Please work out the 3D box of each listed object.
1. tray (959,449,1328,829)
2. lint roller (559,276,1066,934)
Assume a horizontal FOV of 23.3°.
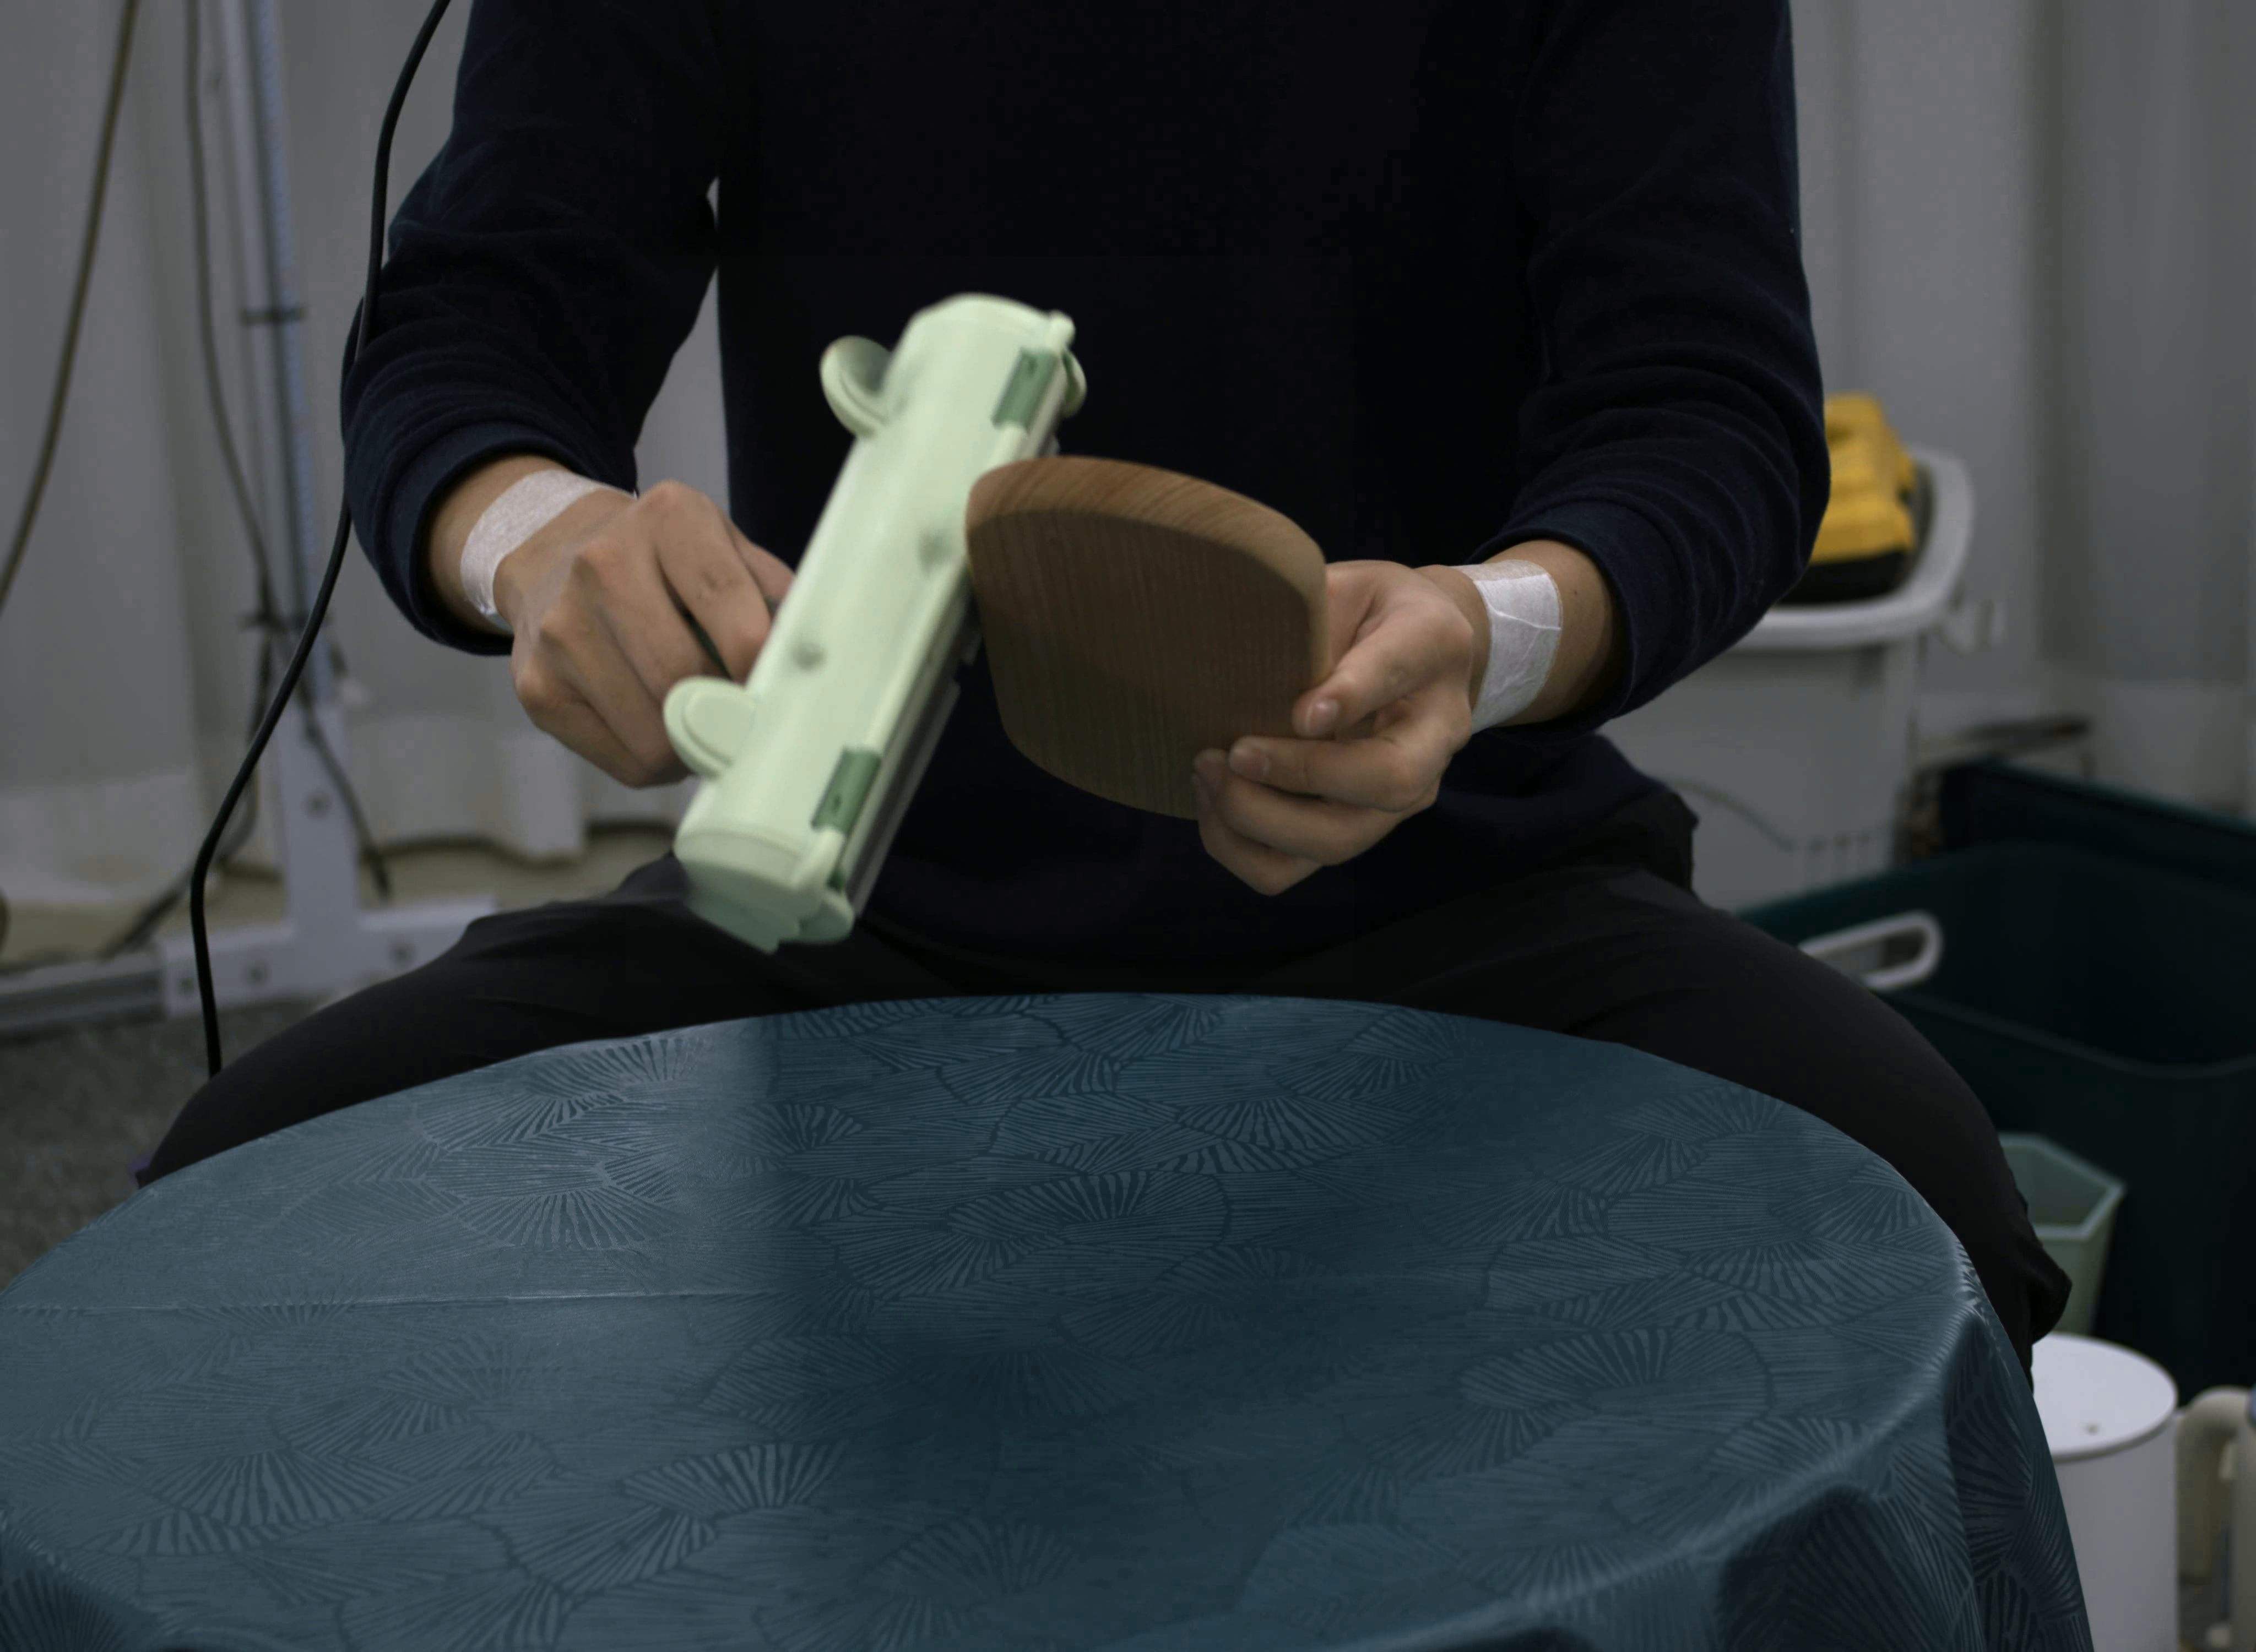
[{"bbox_3d":[0.005,-0.049,1.541,0.101,0.020,0.229,13,-22,8],"label":"tray"},{"bbox_3d":[-0.116,-0.065,1.565,0.183,0.081,0.201,-3,54,41],"label":"lint roller"}]
